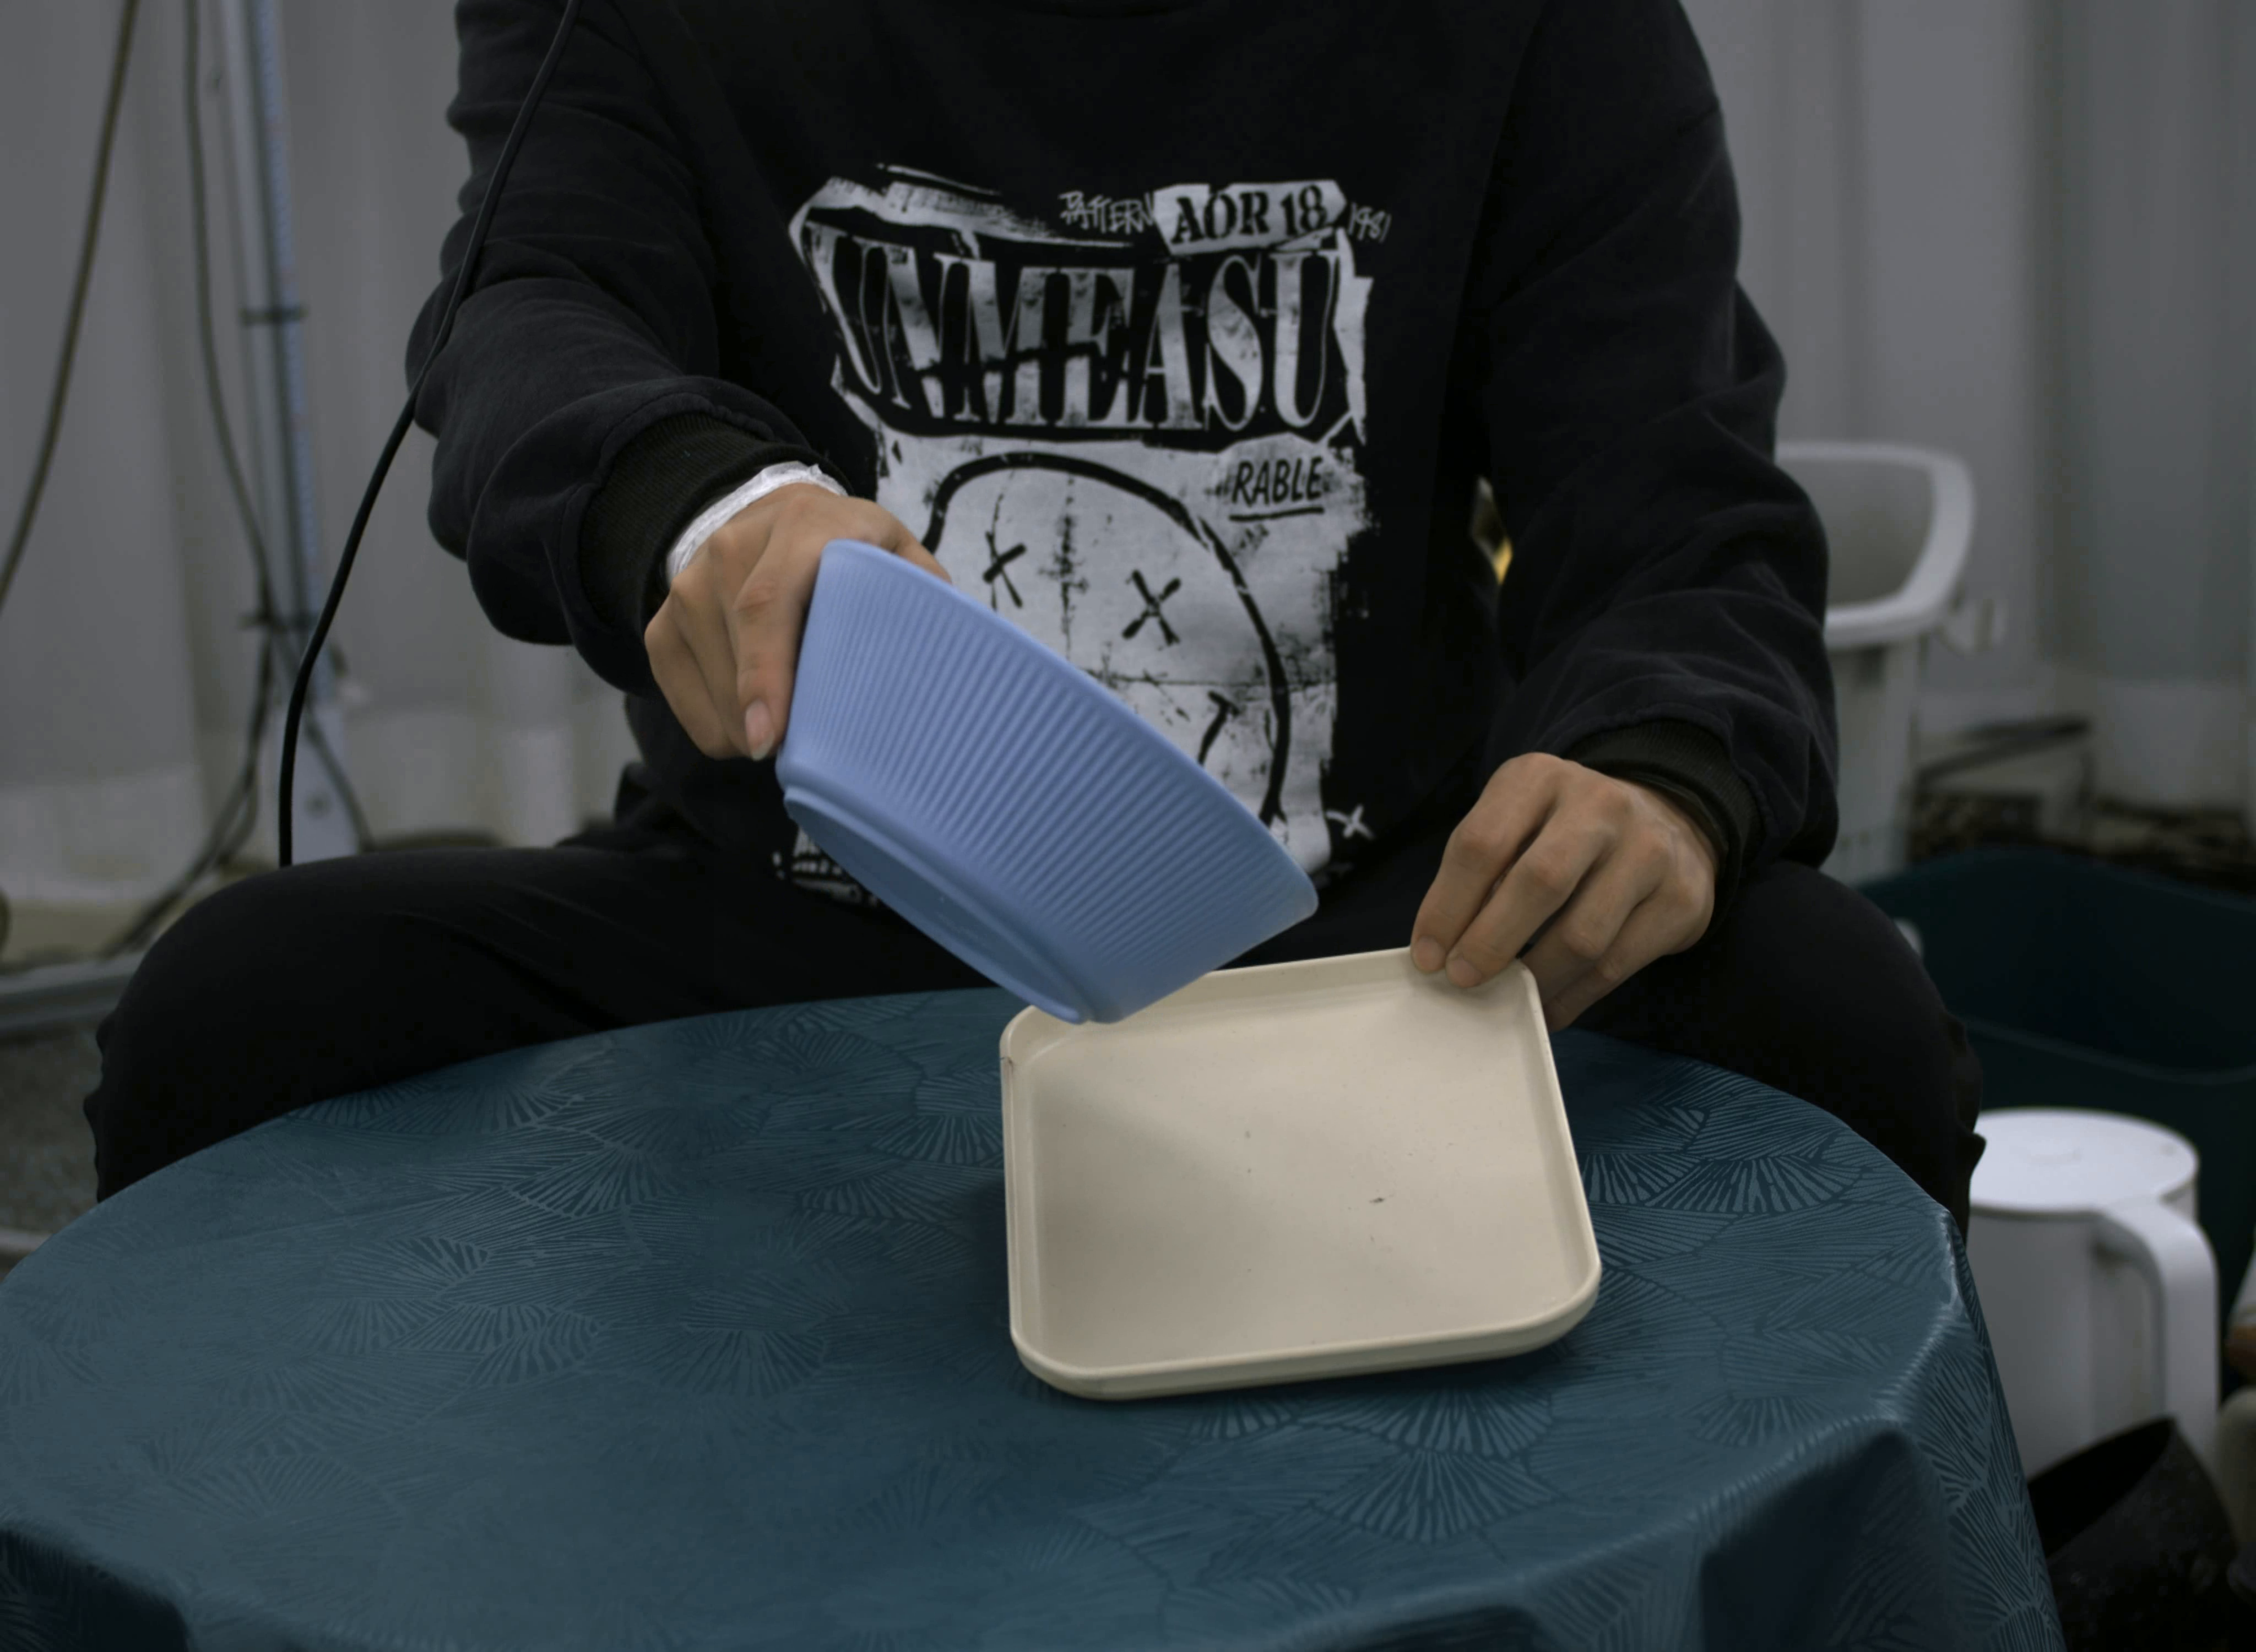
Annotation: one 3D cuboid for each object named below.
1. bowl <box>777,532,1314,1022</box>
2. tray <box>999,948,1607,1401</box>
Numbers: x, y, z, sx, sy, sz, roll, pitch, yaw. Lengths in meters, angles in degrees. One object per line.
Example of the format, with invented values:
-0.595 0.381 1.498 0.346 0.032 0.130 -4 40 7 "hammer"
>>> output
-0.035 -0.003 1.566 0.176 0.070 0.175 36 -8 6 "bowl"
0.048 0.102 1.634 0.171 0.017 0.242 -6 25 0 "tray"
